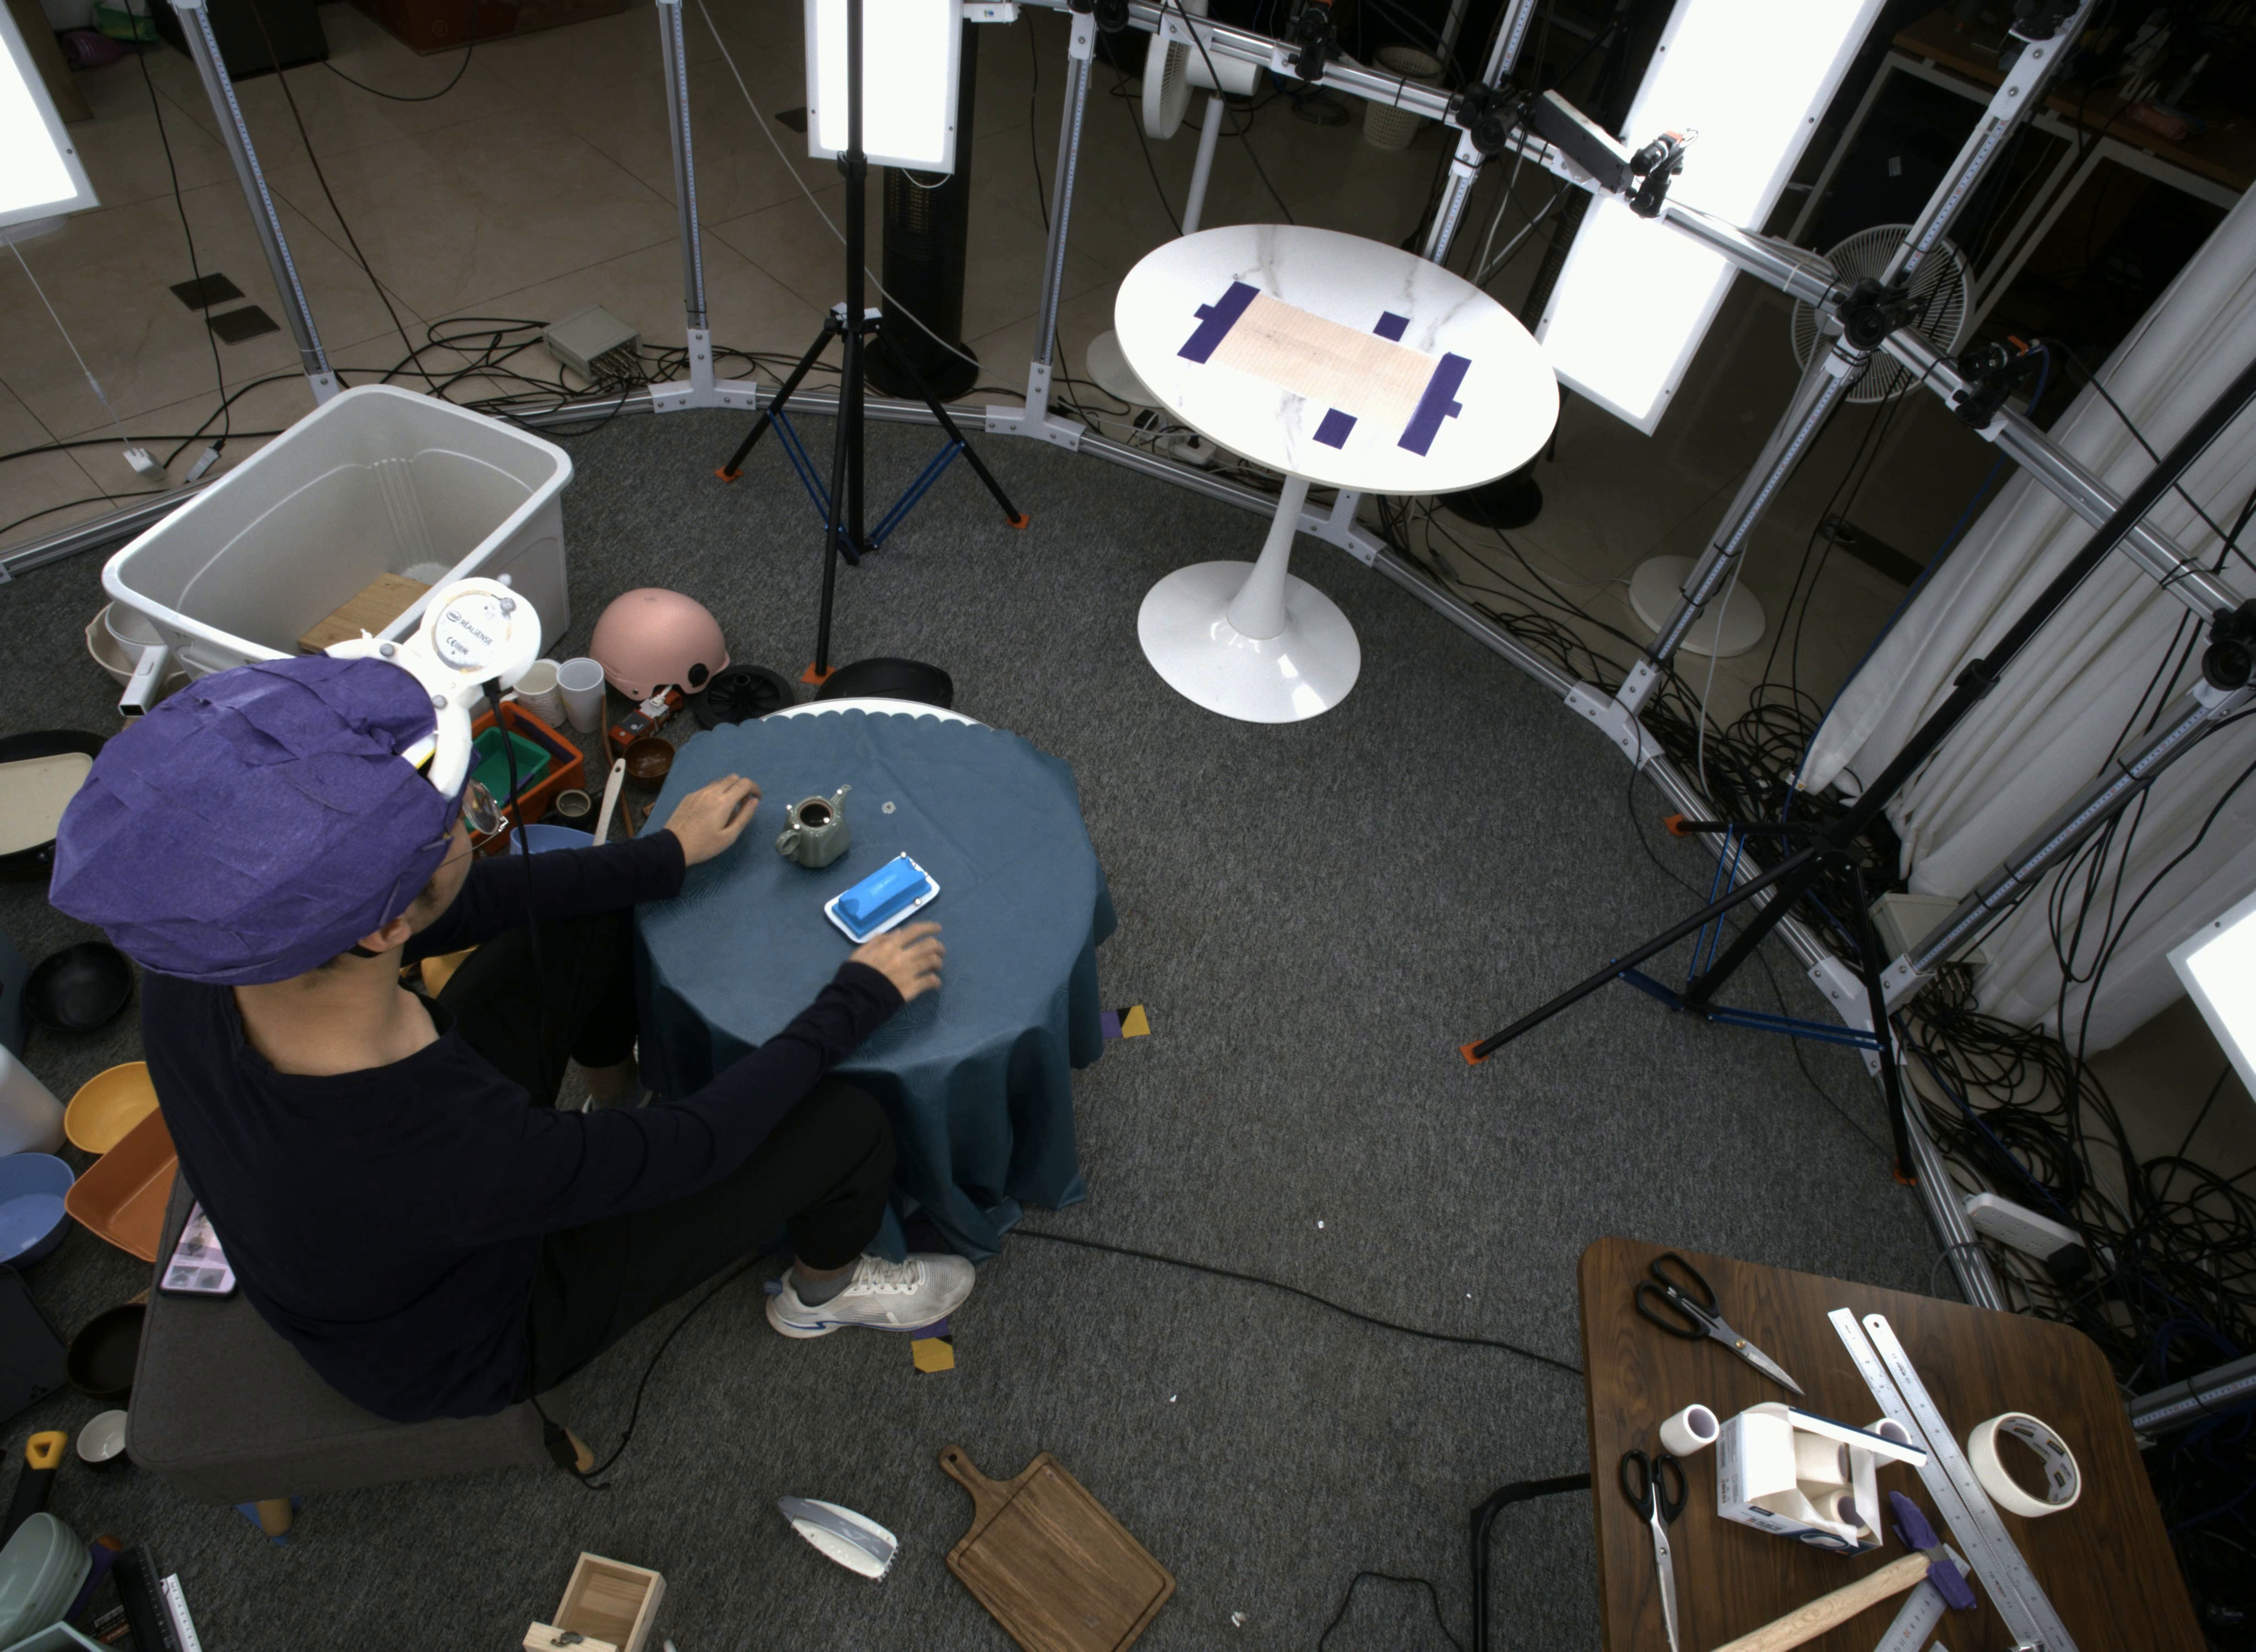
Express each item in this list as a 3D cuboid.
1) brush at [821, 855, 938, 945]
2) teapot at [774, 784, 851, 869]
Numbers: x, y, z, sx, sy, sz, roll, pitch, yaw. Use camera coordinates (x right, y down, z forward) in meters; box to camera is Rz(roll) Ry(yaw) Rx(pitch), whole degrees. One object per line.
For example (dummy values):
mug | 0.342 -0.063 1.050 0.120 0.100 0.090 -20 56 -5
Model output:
brush | -0.314 0.084 1.650 0.081 0.057 0.144 41 52 22
teapot | -0.405 0.003 1.681 0.078 0.077 0.132 35 55 14
